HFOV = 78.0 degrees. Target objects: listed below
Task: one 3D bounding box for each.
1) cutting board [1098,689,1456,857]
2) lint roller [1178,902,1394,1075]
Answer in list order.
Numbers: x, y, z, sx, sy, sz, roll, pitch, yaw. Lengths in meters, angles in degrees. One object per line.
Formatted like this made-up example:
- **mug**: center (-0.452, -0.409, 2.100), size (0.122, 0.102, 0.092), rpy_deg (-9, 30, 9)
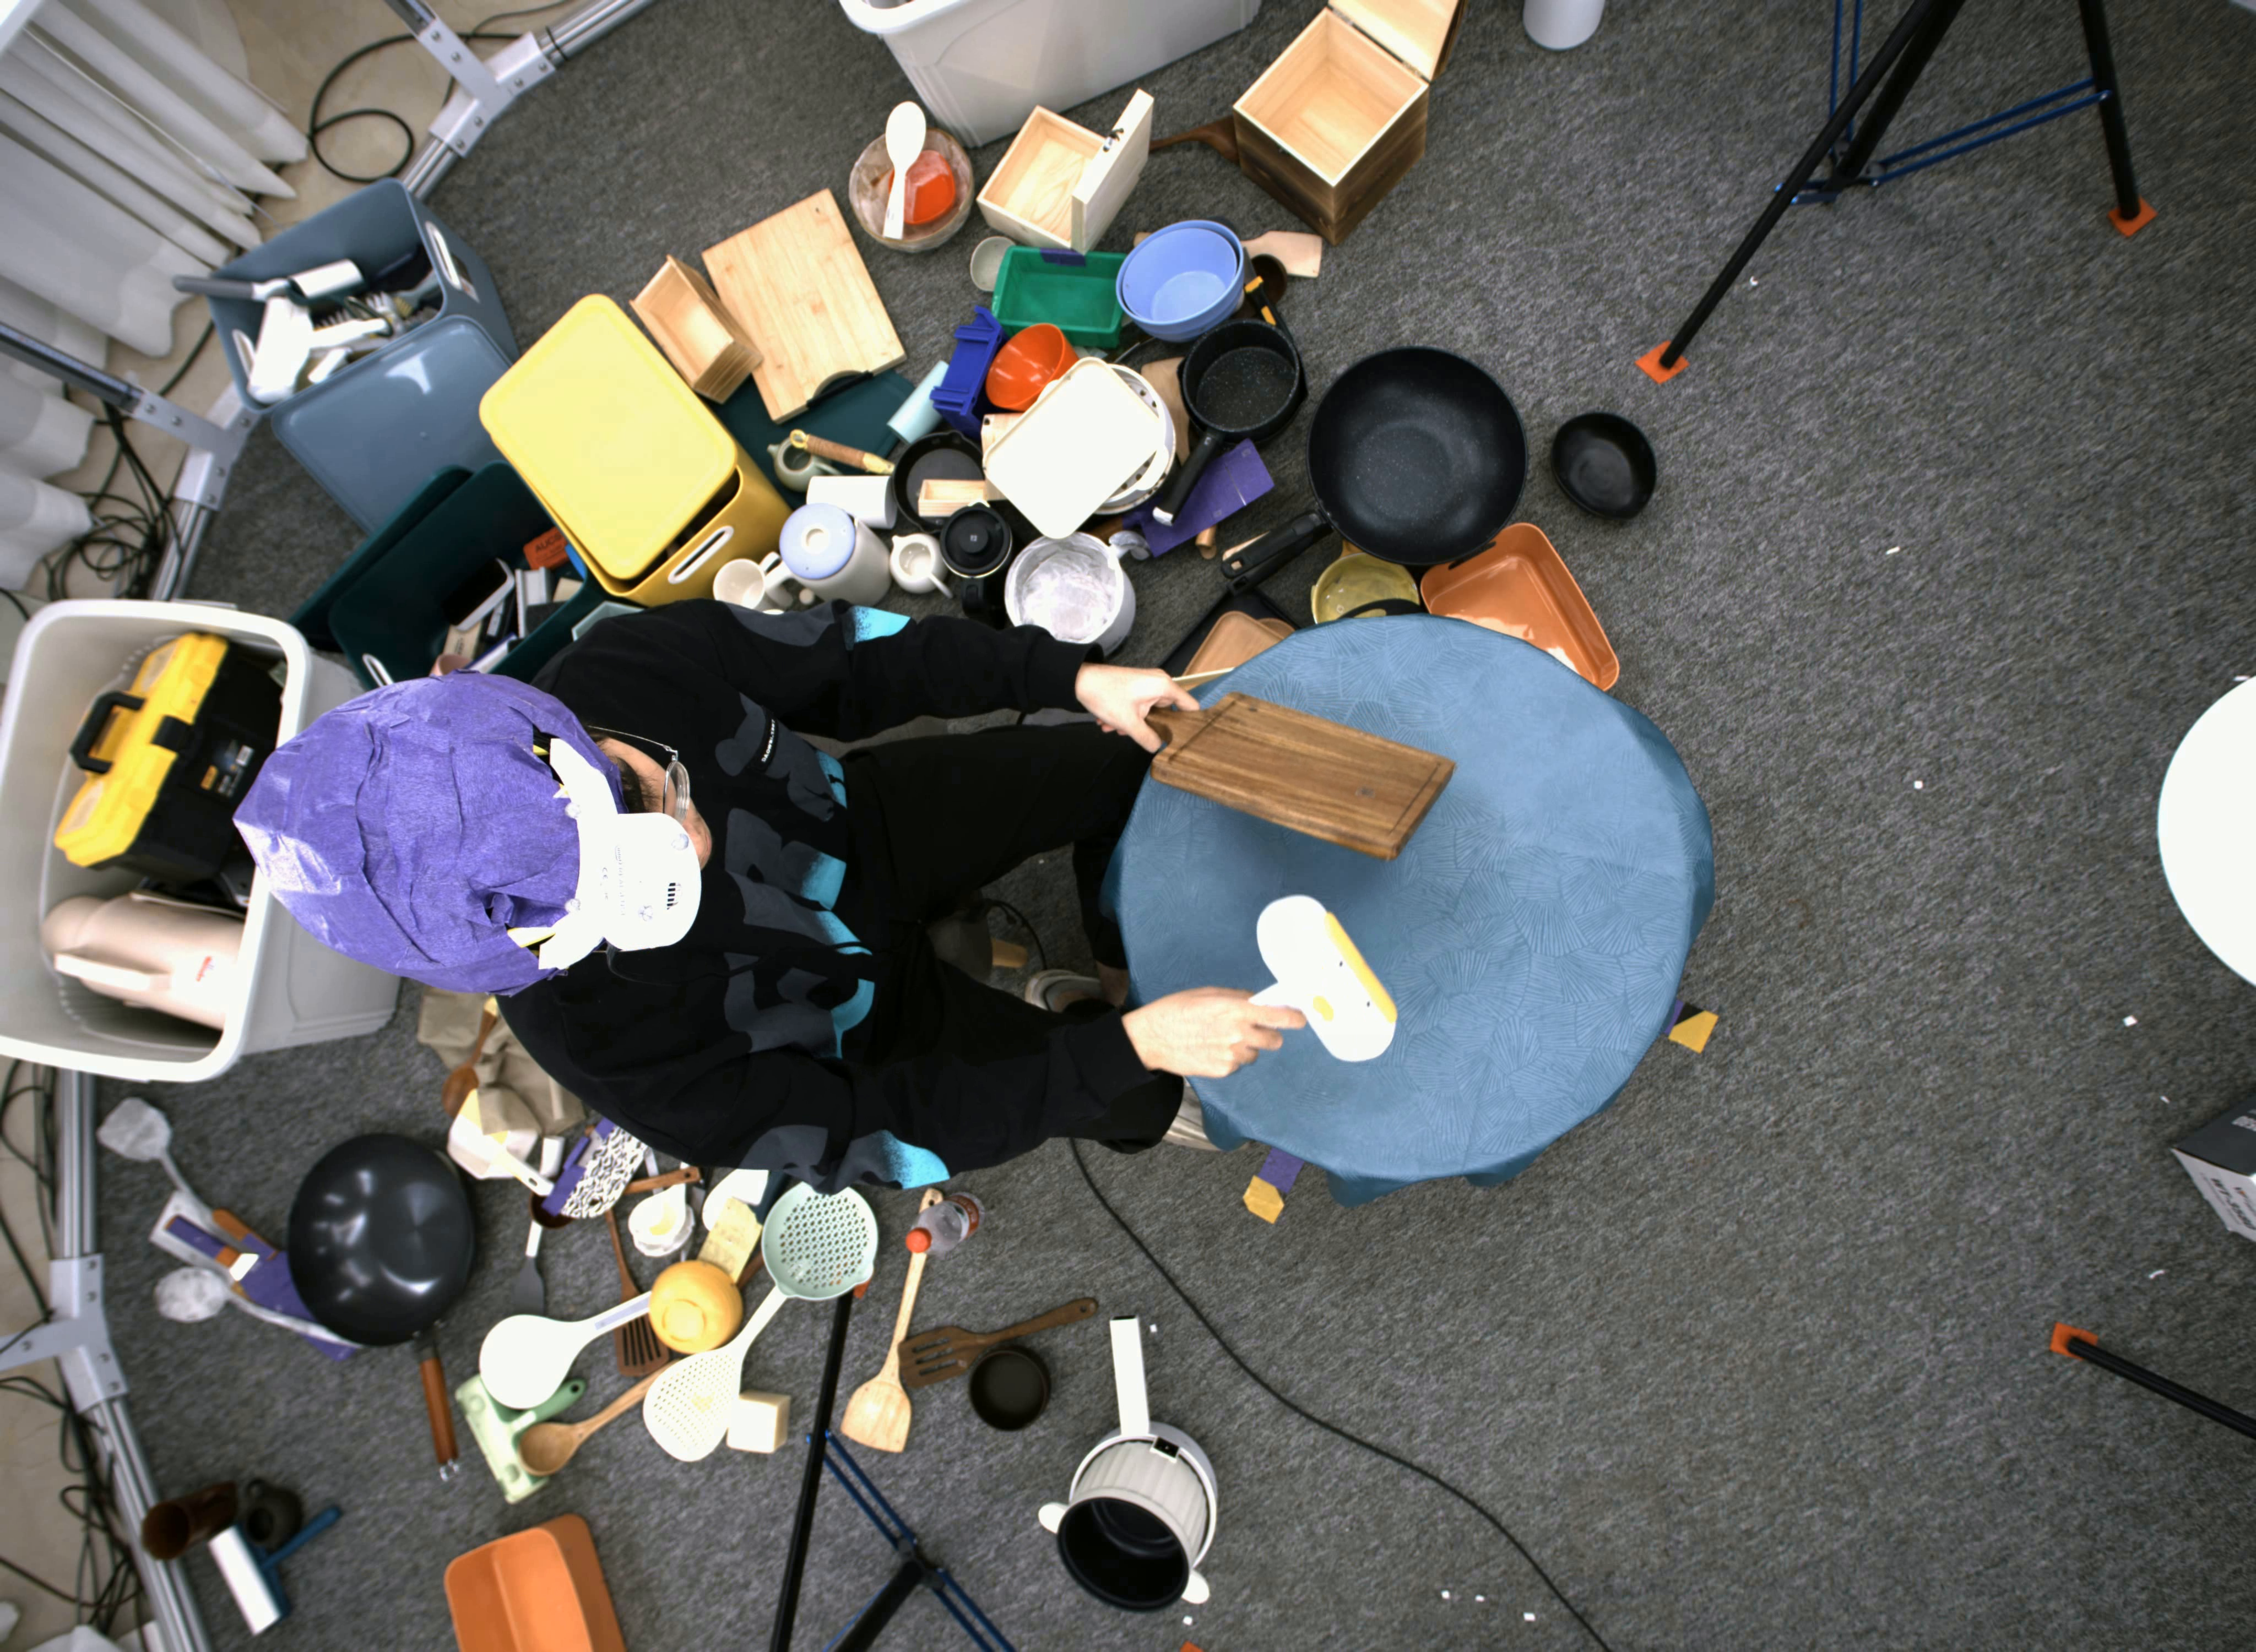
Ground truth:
- **cutting board**: center (0.130, -0.074, 1.355), size (0.352, 0.196, 0.024), rpy_deg (19, 126, 20)
- **lint roller**: center (0.131, 0.172, 1.294), size (0.195, 0.195, 0.072), rpy_deg (-26, 38, 24)
